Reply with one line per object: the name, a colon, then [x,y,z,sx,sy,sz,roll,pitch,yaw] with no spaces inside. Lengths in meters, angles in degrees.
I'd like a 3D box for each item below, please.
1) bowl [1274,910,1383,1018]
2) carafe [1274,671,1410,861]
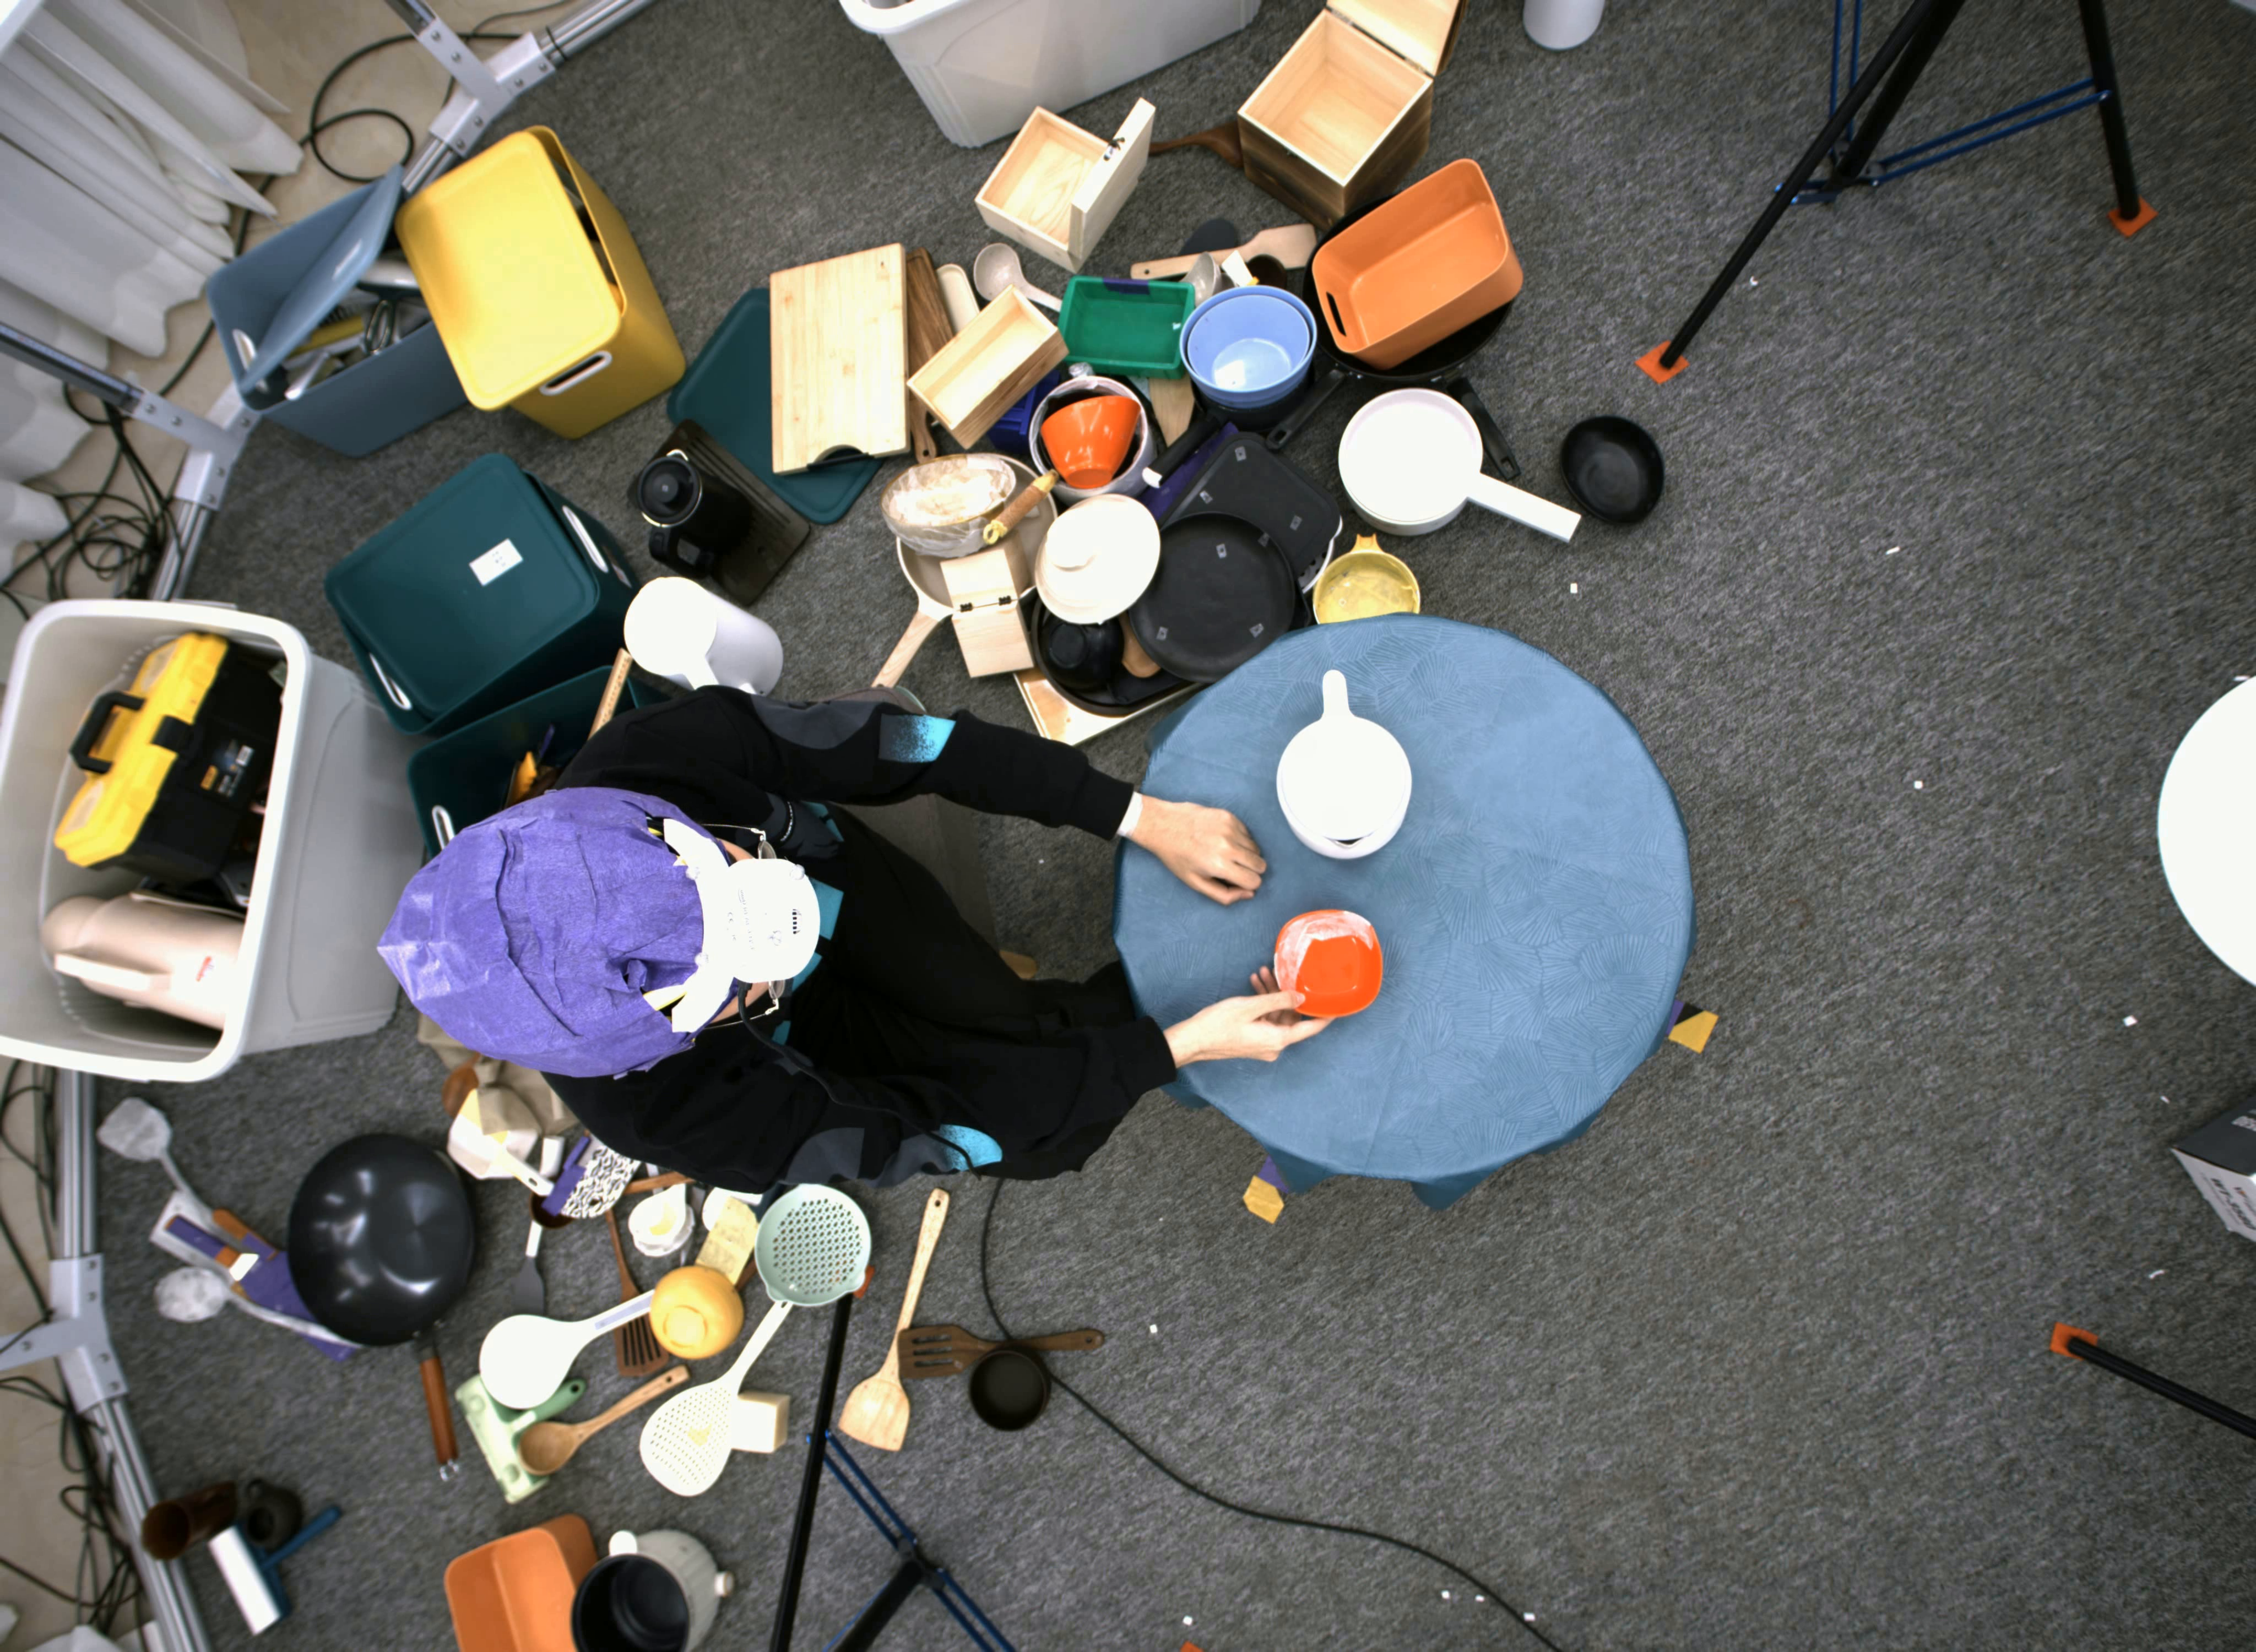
bowl: [0.207,0.142,1.436,0.119,0.051,0.118,0,88,8]
carafe: [0.212,-0.062,1.386,0.133,0.183,0.189,-7,82,8]
